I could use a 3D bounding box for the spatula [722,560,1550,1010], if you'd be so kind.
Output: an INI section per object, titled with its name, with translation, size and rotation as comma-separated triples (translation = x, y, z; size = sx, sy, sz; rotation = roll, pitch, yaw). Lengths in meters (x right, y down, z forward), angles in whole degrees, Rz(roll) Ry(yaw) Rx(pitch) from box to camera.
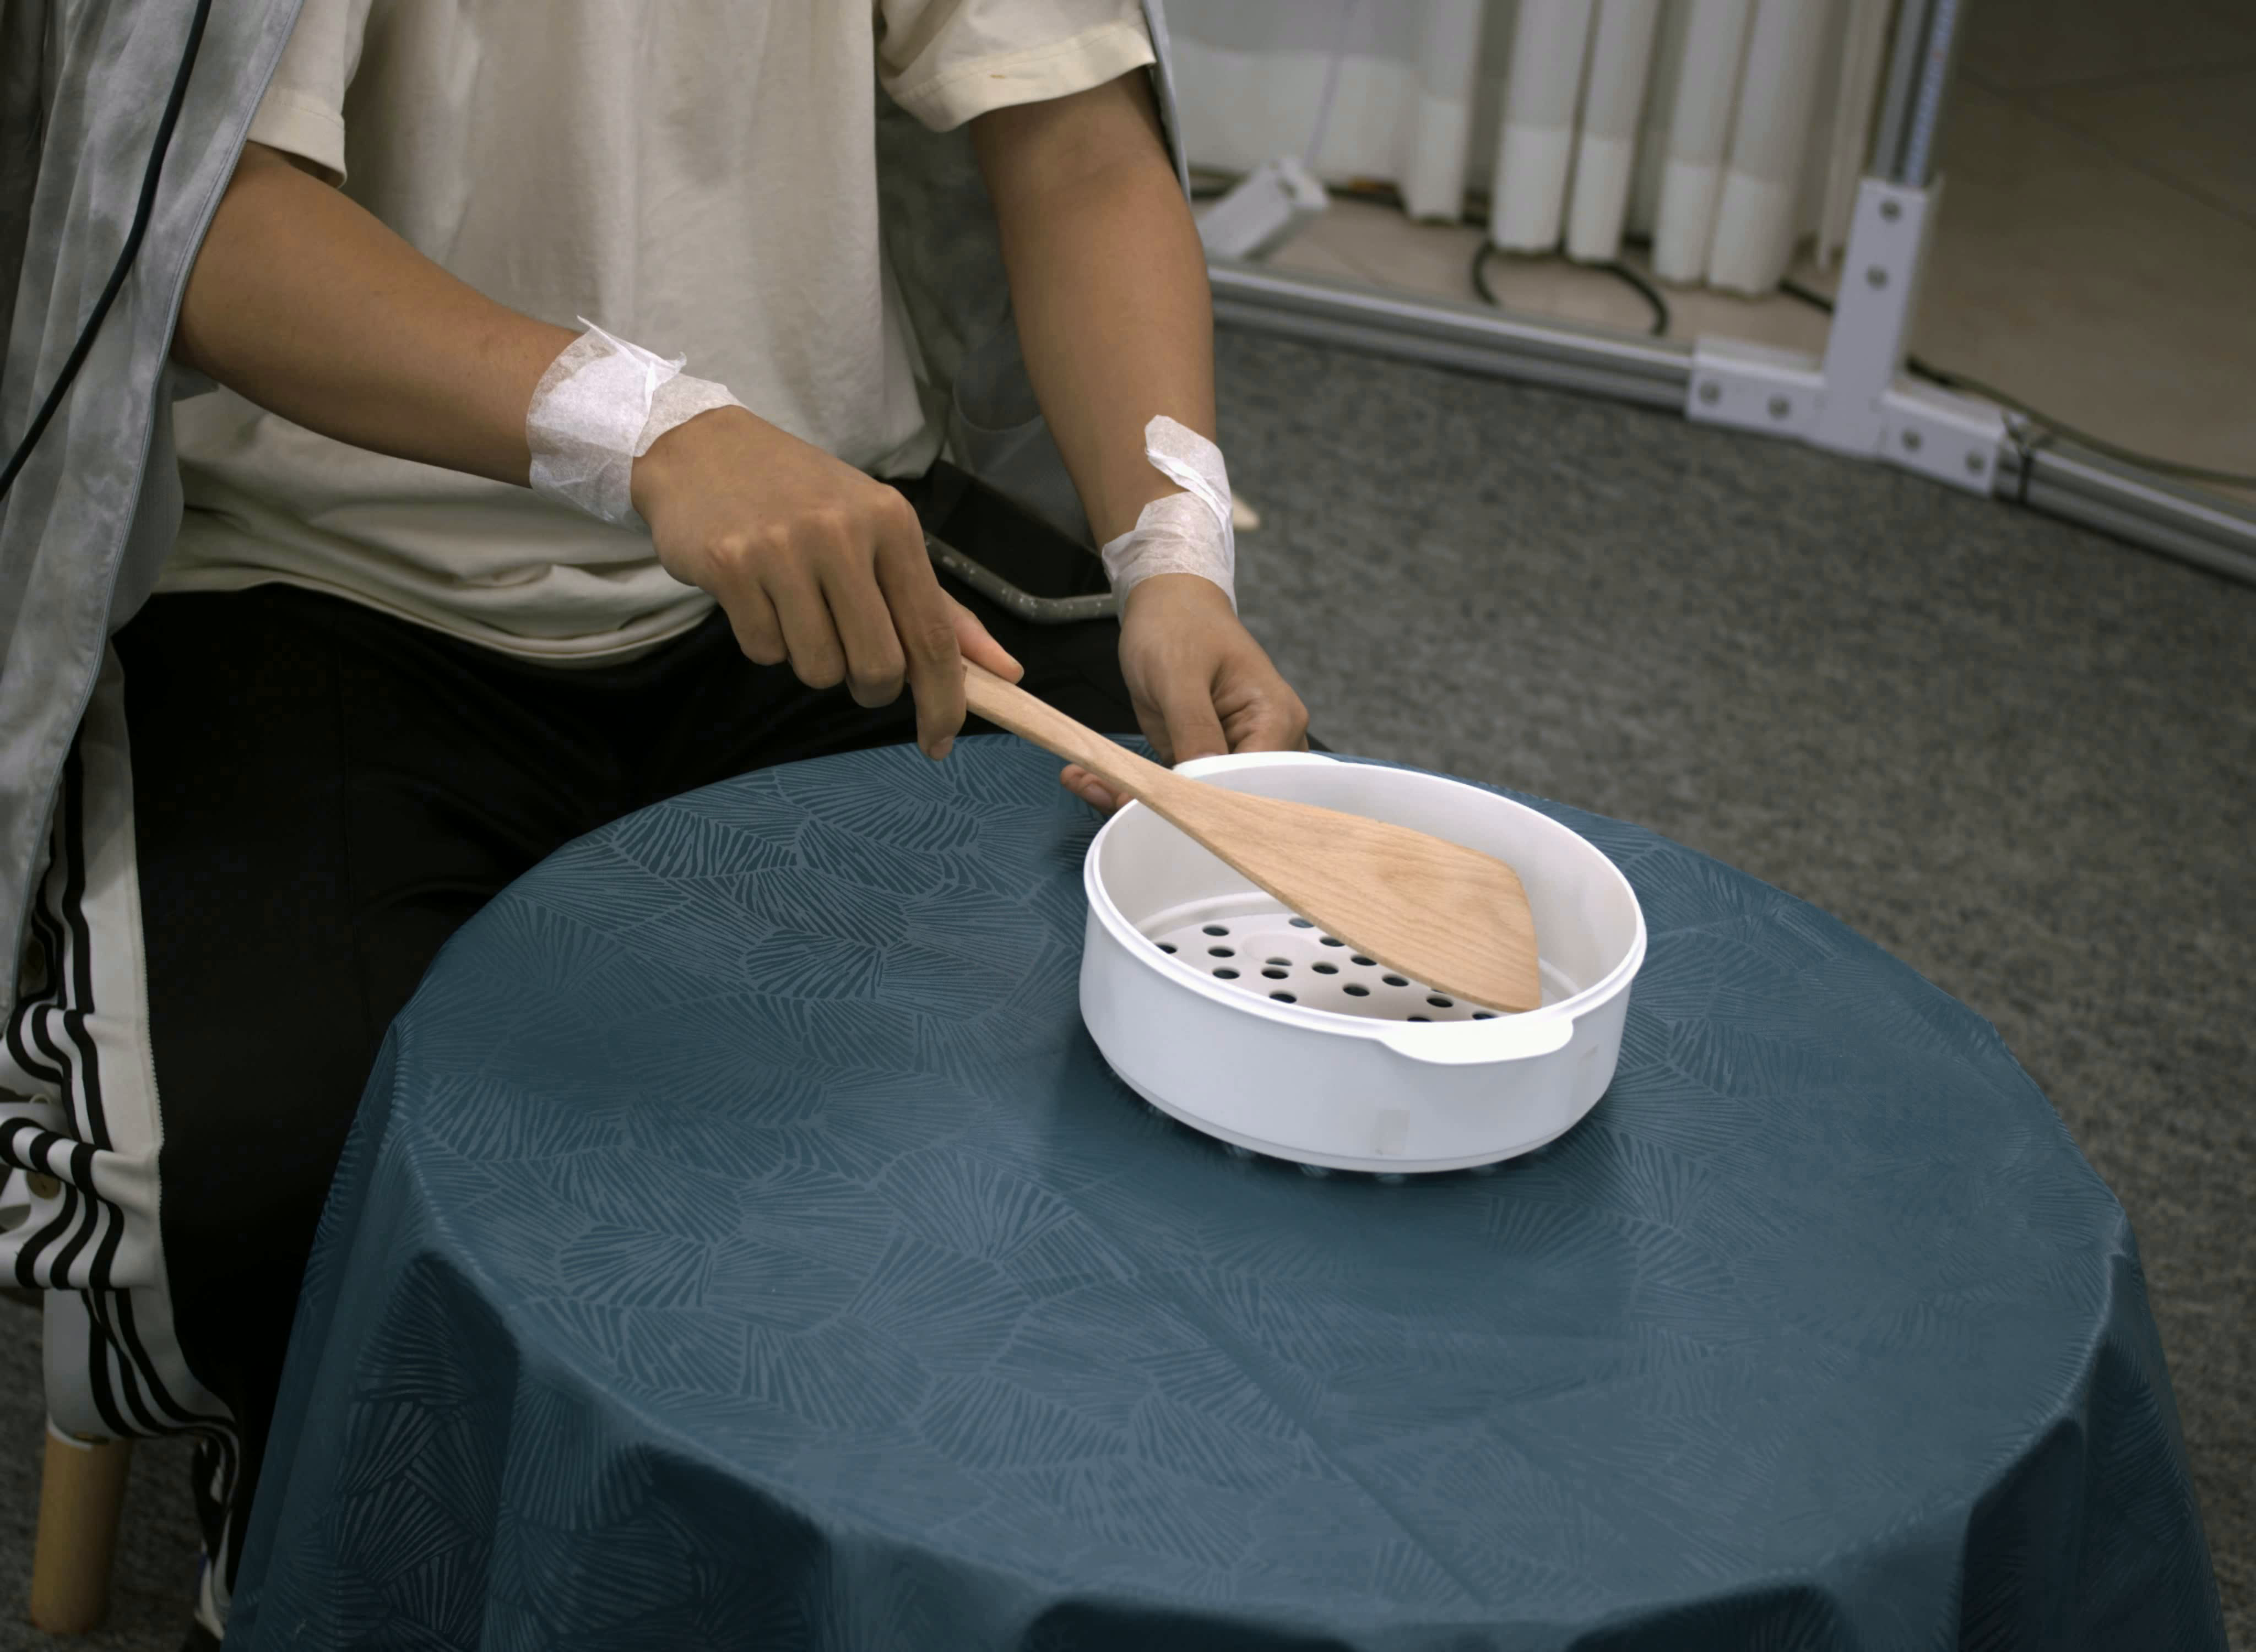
[spatula]
translation = 0.005, -0.022, 1.877
size = 0.326, 0.016, 0.080
rotation = 26, 36, -12

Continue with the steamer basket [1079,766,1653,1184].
[steamer basket]
translation = 0.082, 0.054, 1.888
size = 0.200, 0.069, 0.232
rotation = -3, 28, -21
